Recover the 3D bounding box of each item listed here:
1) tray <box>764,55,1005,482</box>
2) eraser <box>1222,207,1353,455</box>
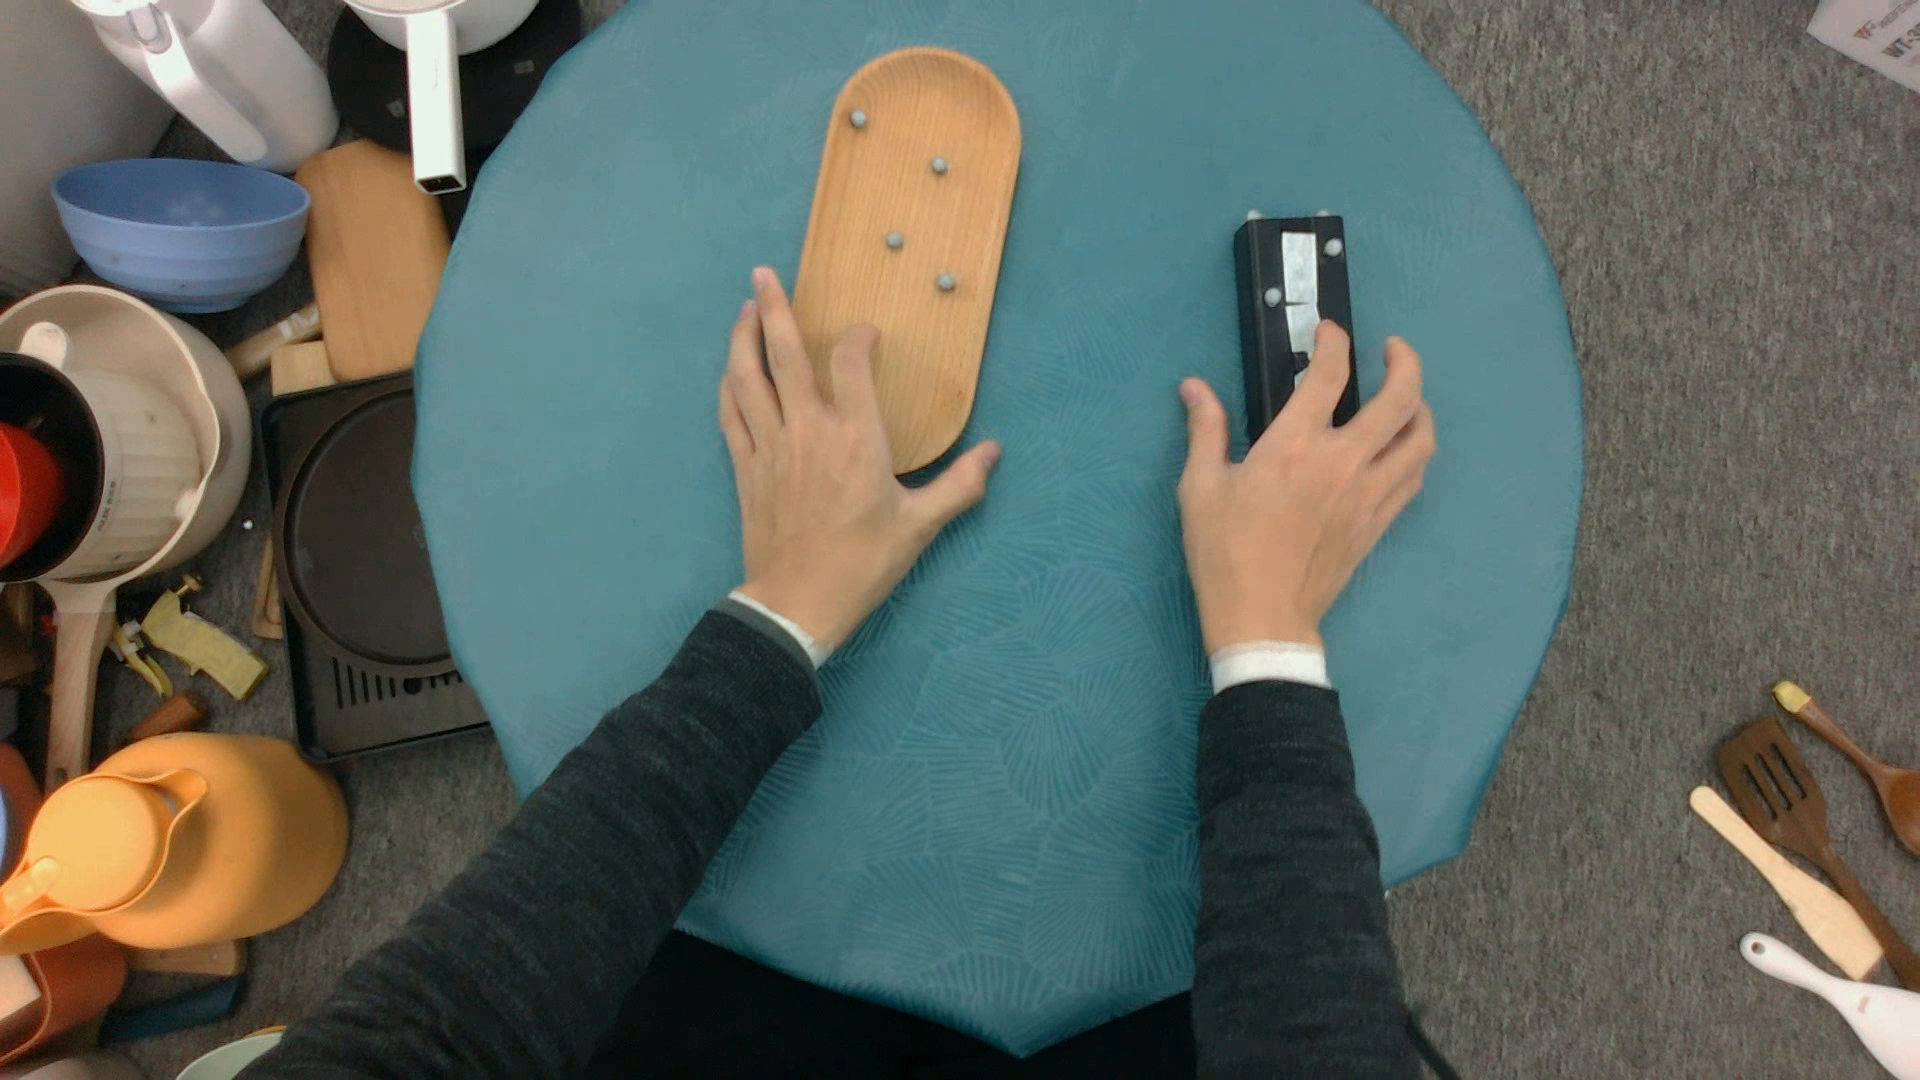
[{"bbox_3d":[-0.038,-0.142,0.713,0.101,0.020,0.231,9,81,1],"label":"tray"},{"bbox_3d":[0.167,-0.107,0.709,0.053,0.030,0.125,-4,81,-1],"label":"eraser"}]
